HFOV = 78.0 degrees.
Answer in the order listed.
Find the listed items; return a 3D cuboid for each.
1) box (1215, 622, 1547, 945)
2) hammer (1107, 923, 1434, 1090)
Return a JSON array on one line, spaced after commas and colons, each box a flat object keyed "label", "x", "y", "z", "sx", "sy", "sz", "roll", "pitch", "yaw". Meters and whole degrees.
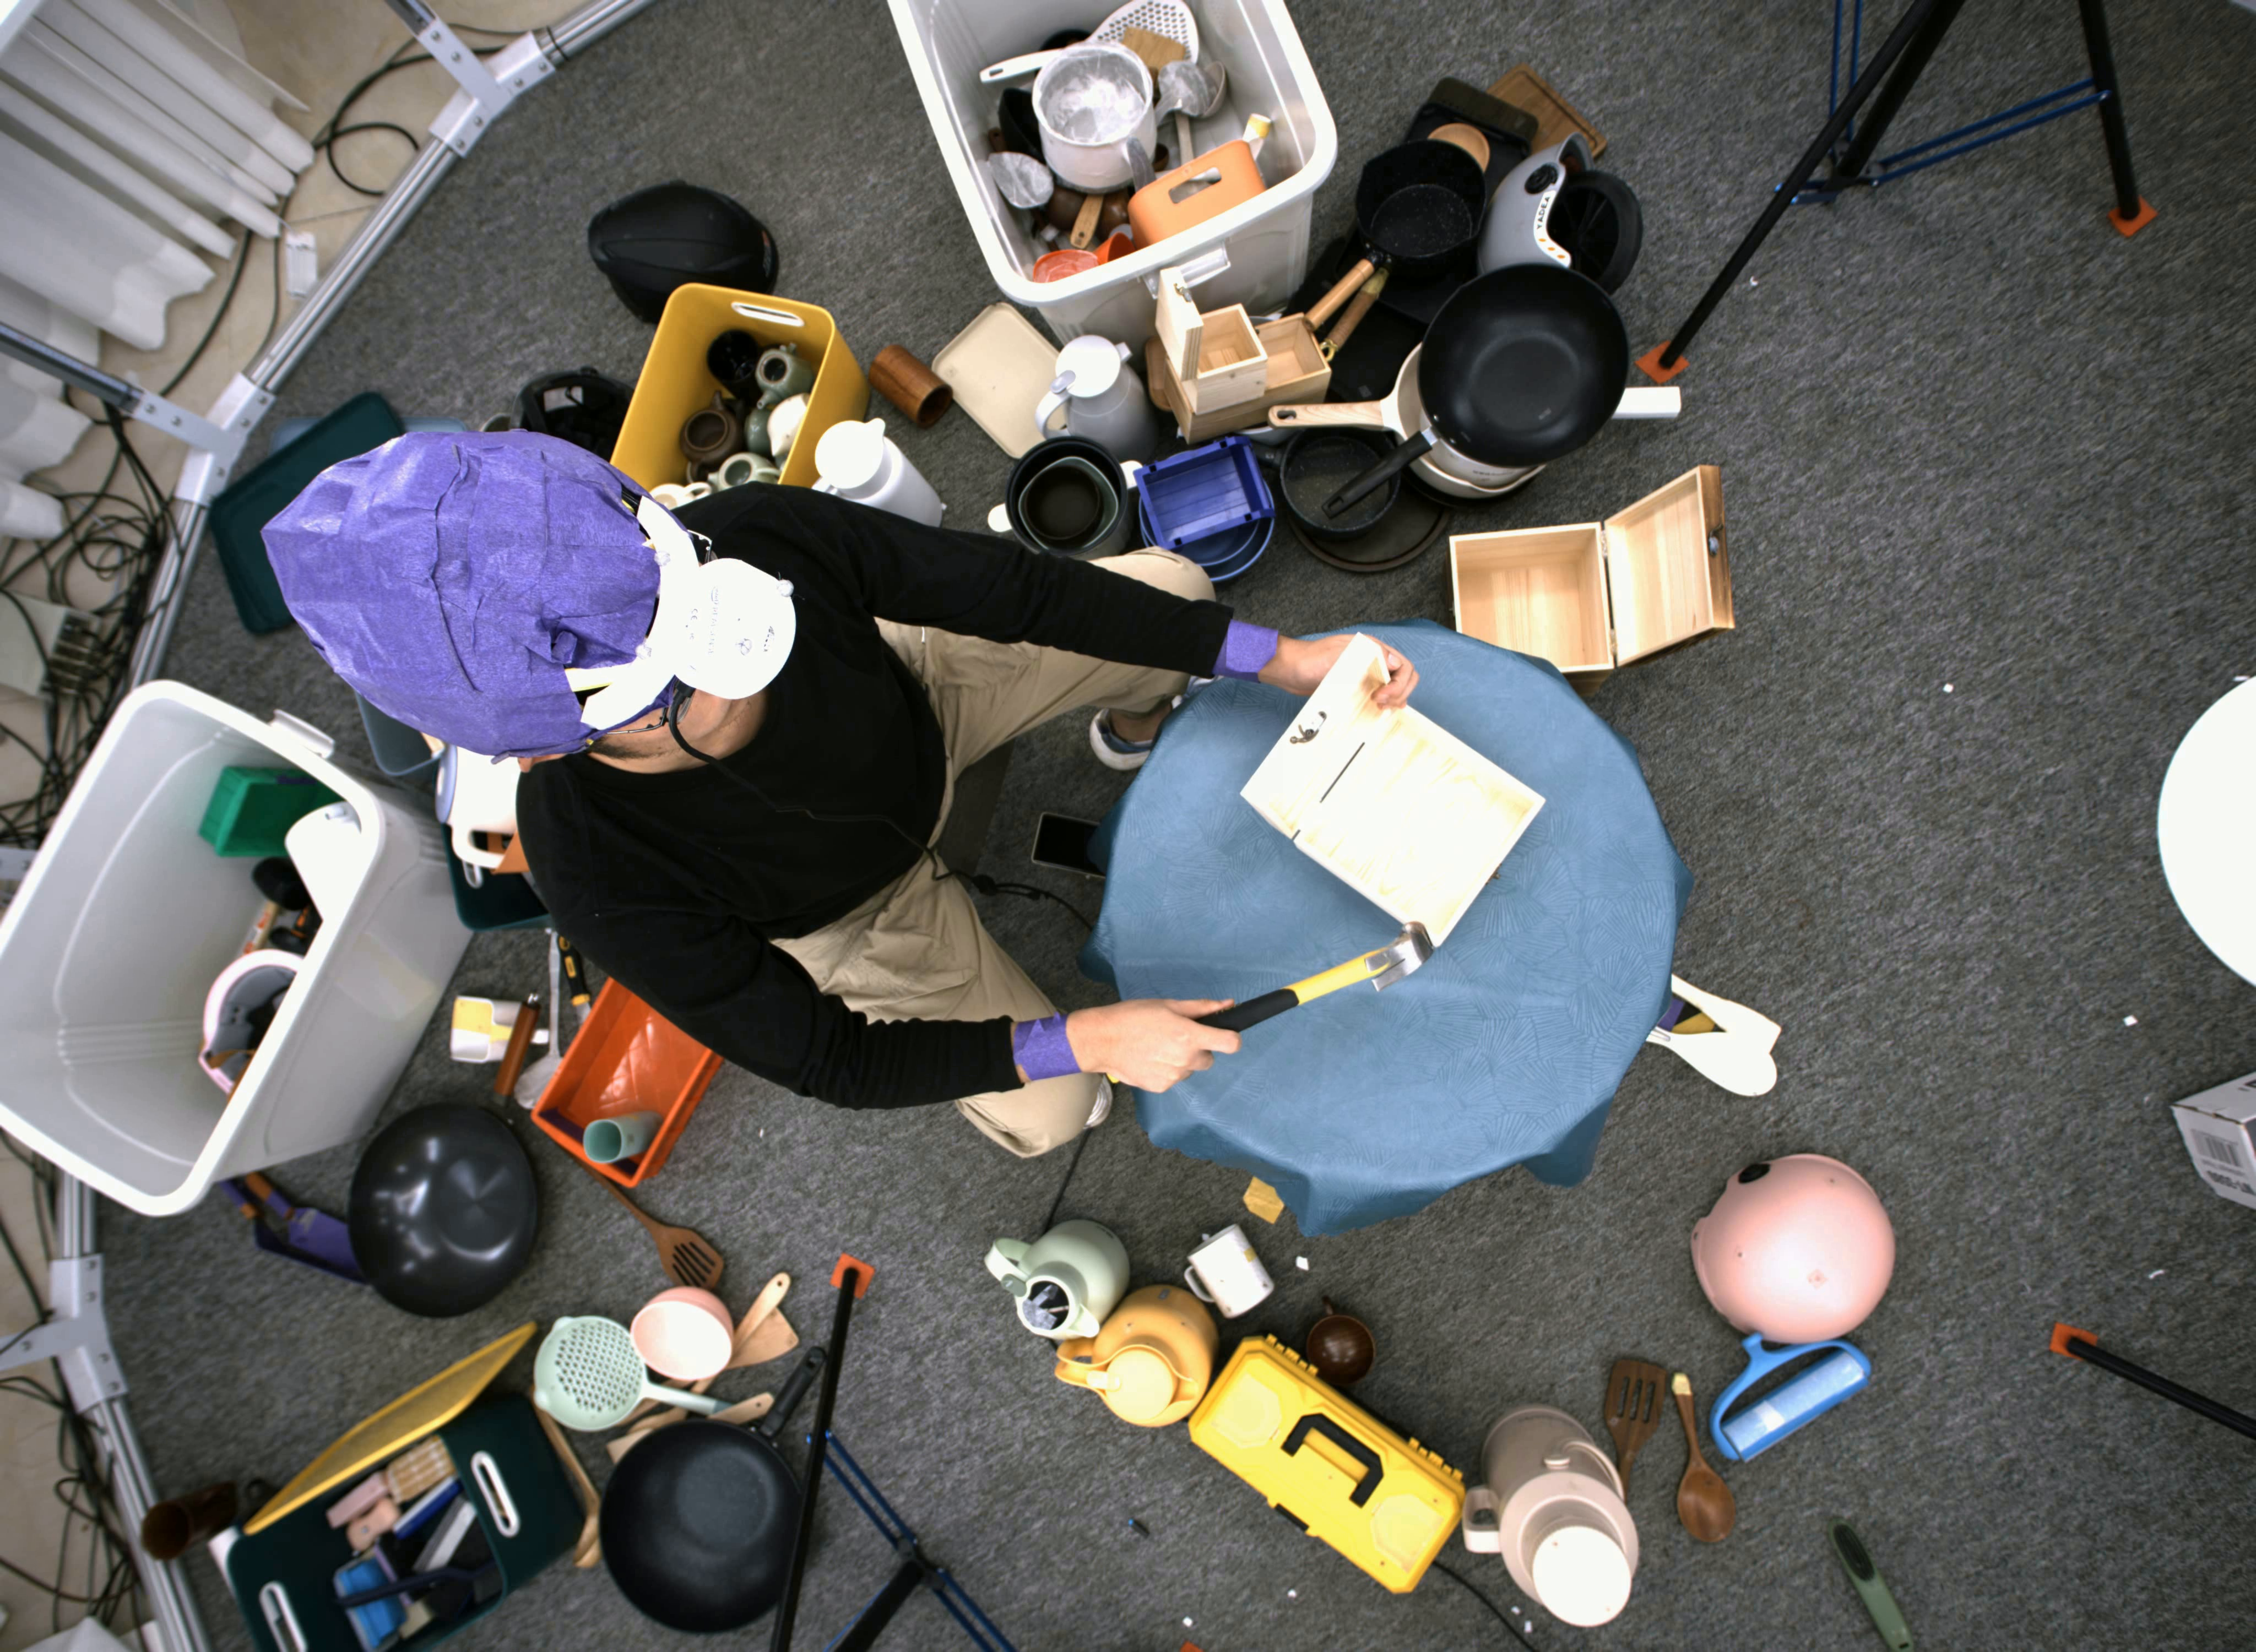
[{"label": "box", "x": 0.257, "y": -0.030, "z": 1.342, "sx": 0.264, "sy": 0.253, "sz": 0.182, "roll": 36, "pitch": 94, "yaw": 10}, {"label": "hammer", "x": 0.132, "y": 0.176, "z": 1.333, "sx": 0.342, "sy": 0.130, "sz": 0.032, "roll": -25, "pitch": 89, "yaw": 15}]
